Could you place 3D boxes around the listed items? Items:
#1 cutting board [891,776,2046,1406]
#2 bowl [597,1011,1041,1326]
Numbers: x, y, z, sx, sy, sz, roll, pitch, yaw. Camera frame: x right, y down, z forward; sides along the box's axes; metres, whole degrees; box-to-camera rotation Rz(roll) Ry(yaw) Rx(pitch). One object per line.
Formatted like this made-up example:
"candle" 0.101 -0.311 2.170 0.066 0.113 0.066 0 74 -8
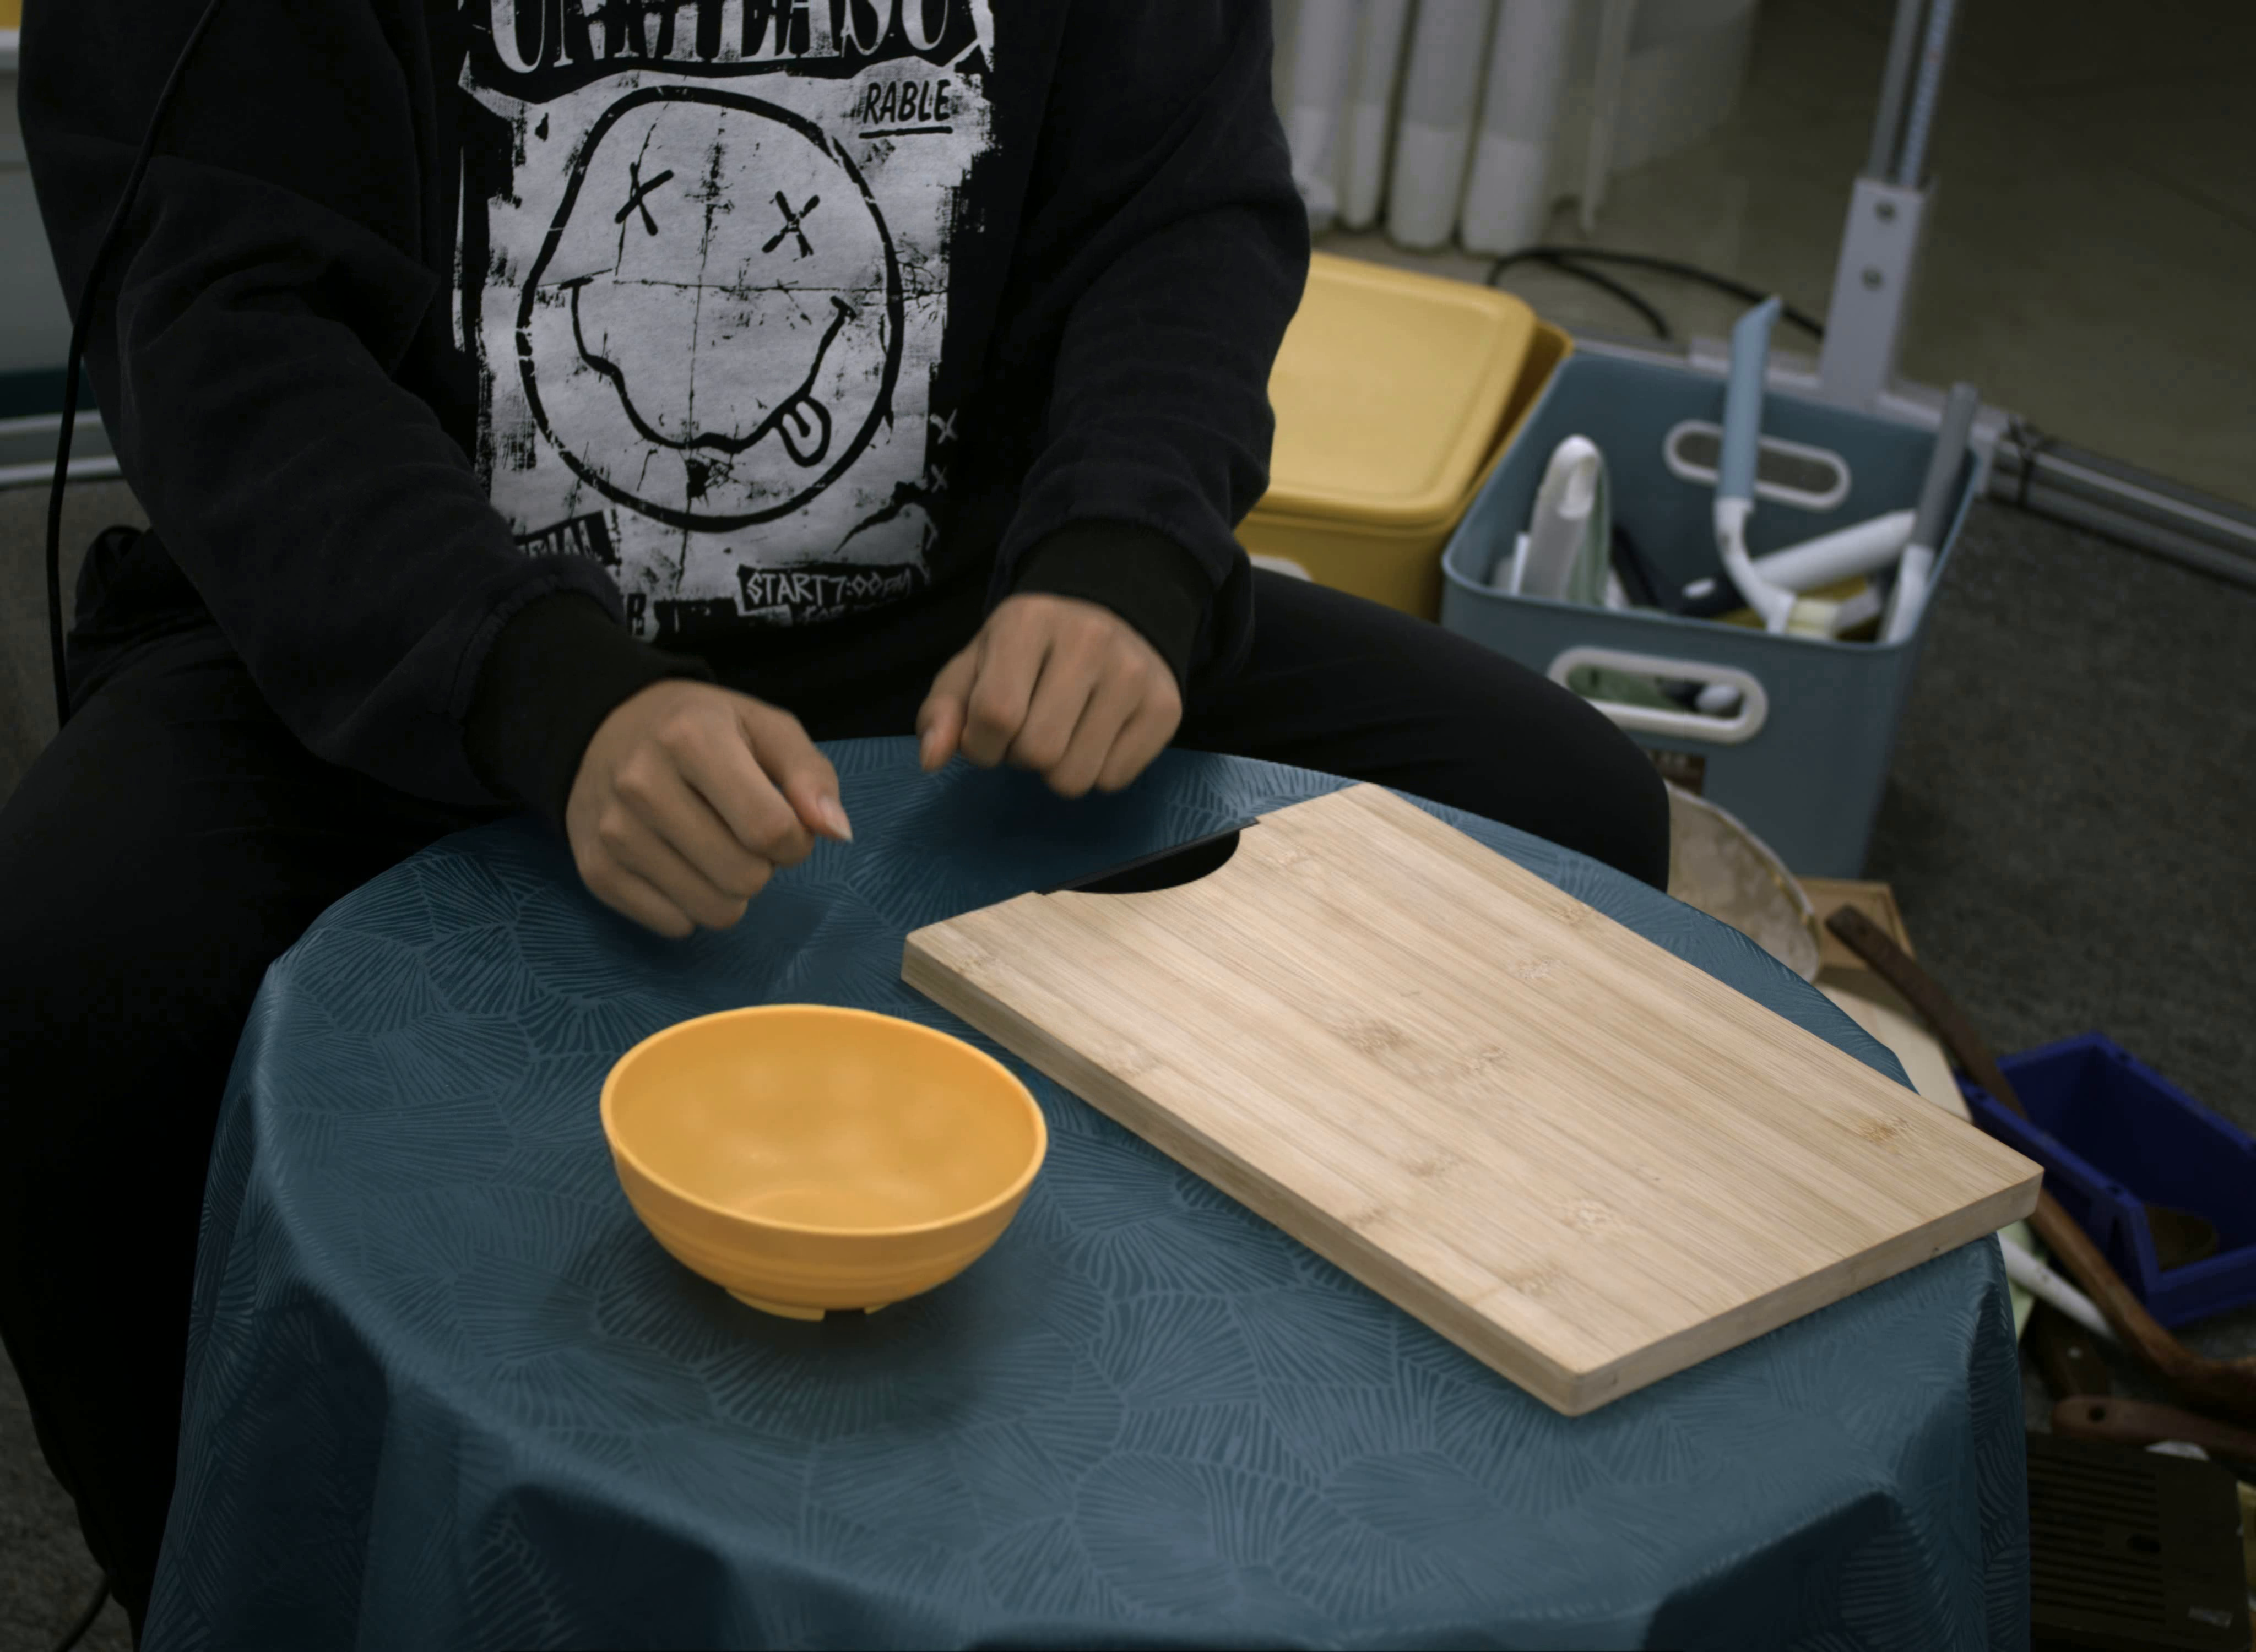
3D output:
"cutting board" 0.116 0.085 1.884 0.249 0.023 0.351 -18 35 -40
"bowl" -0.103 0.120 1.723 0.145 0.060 0.146 7 25 -4
